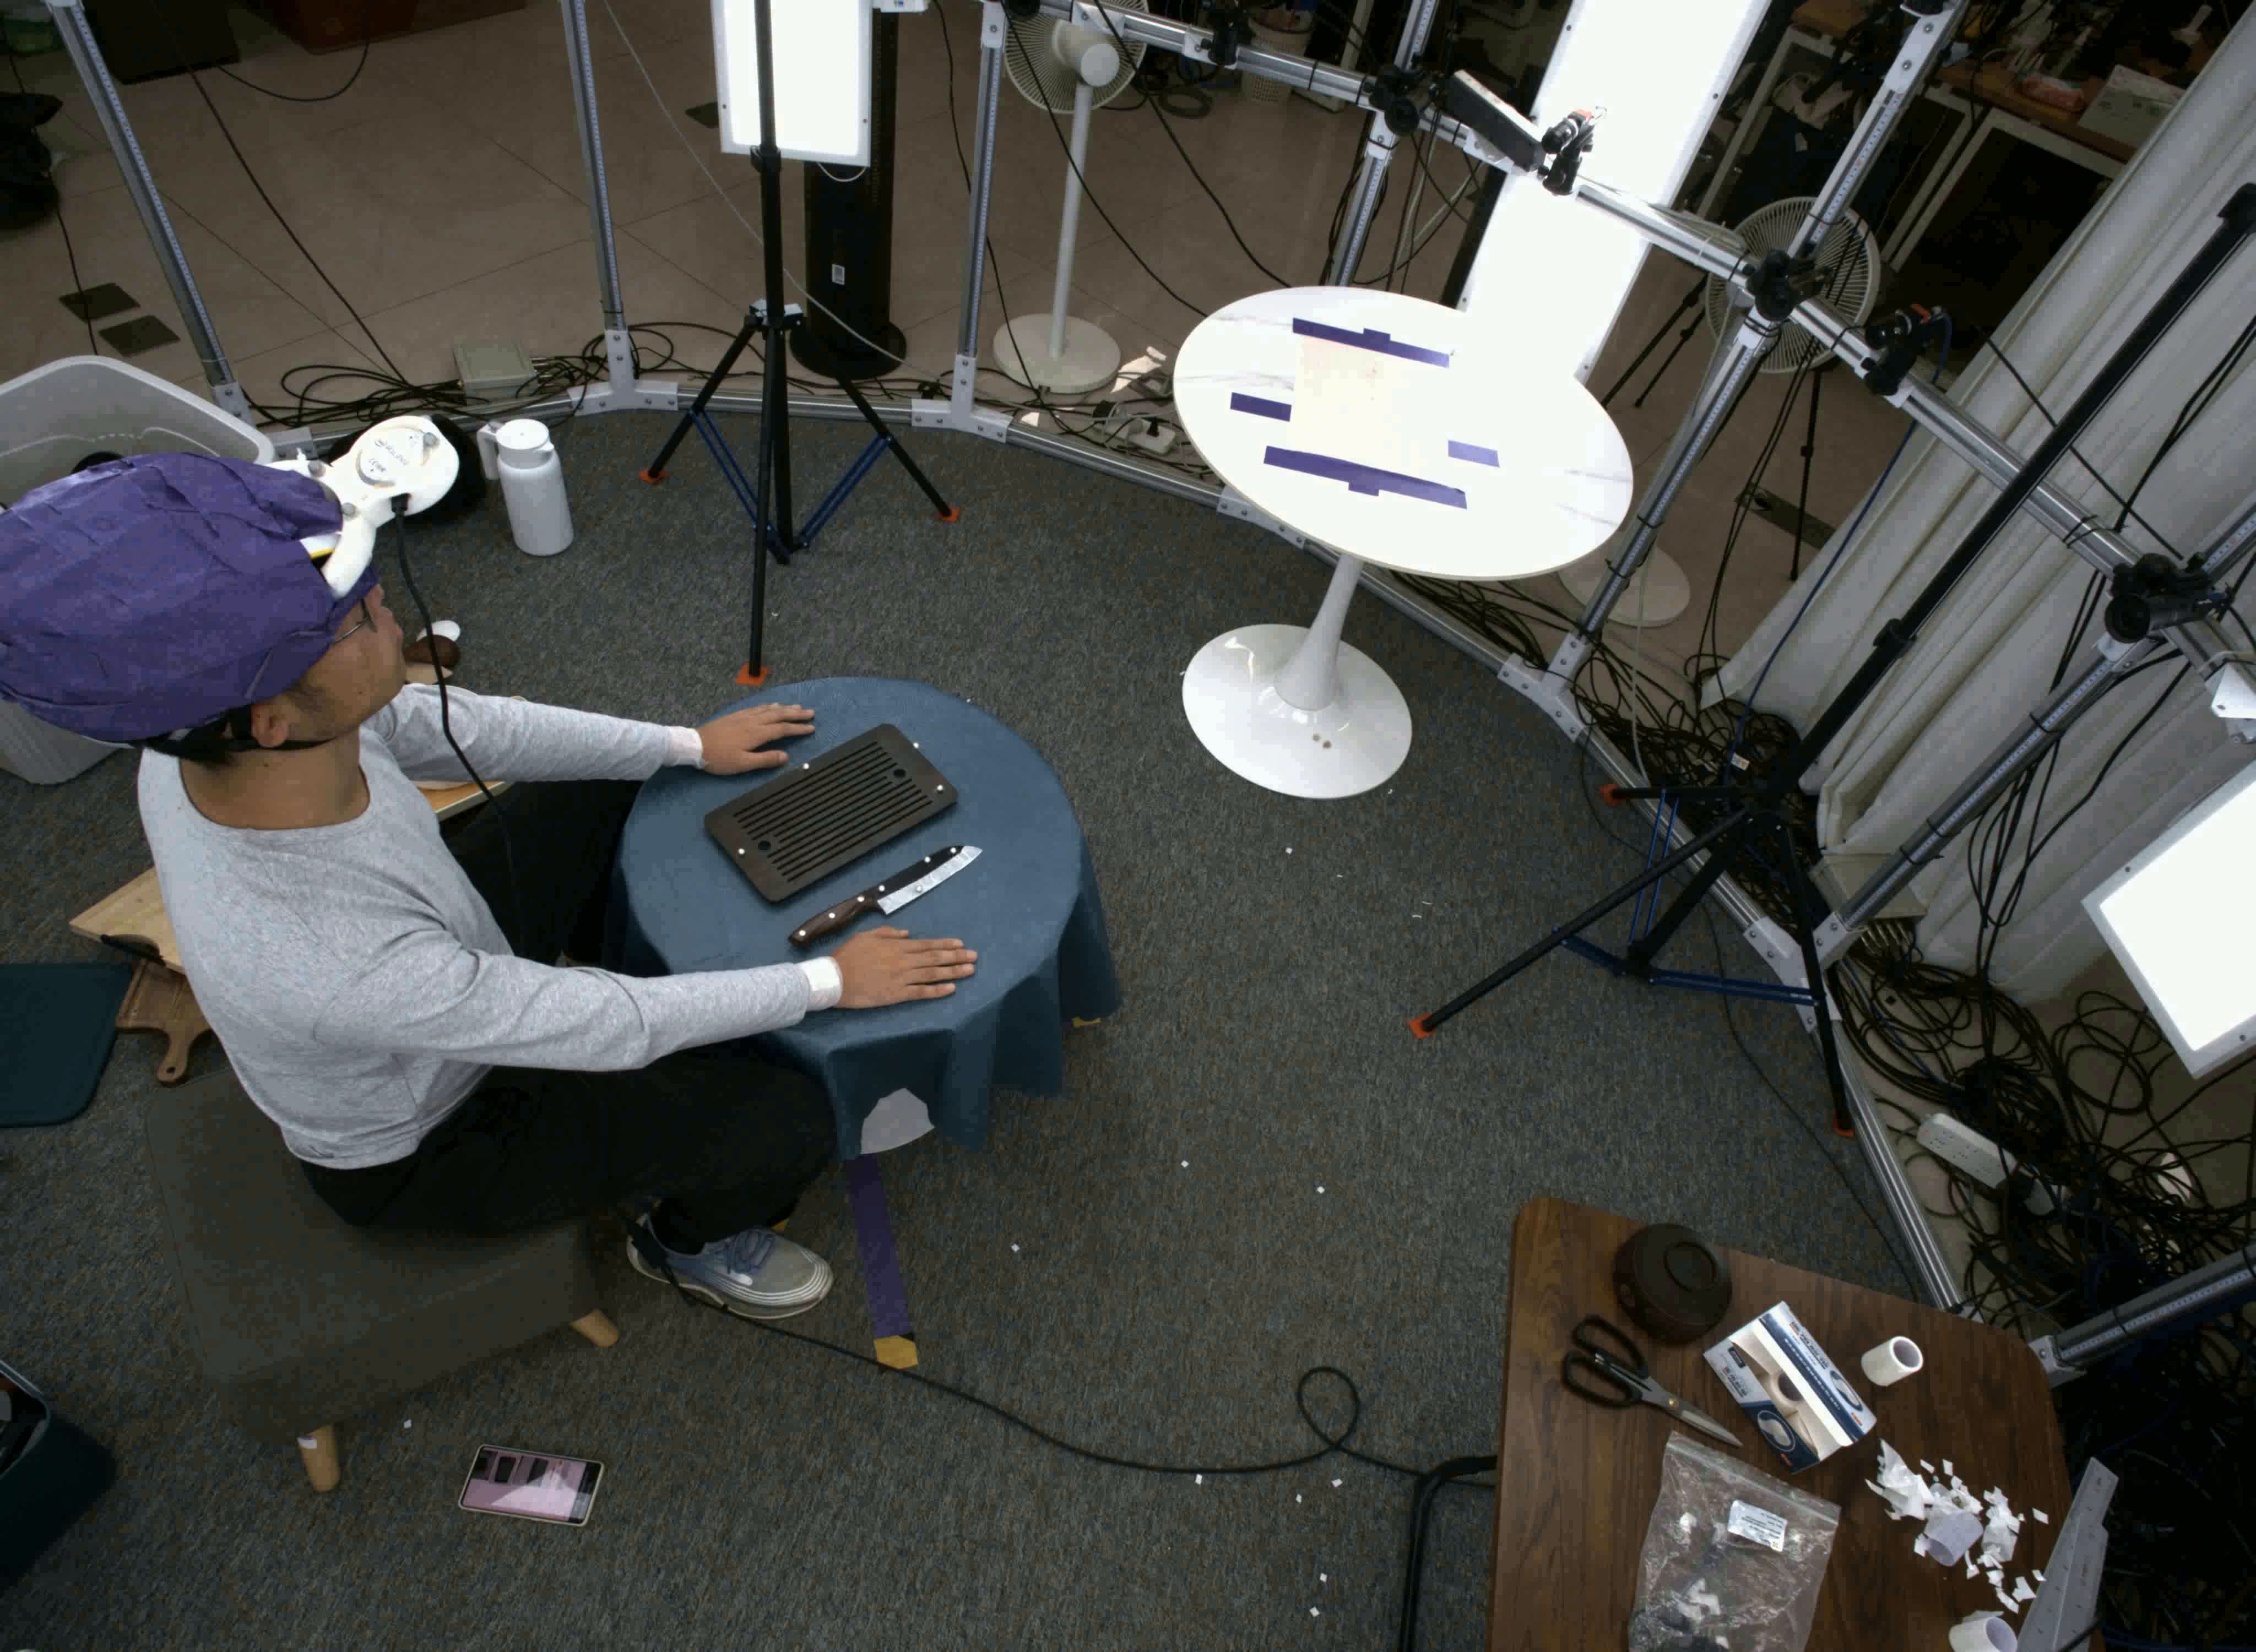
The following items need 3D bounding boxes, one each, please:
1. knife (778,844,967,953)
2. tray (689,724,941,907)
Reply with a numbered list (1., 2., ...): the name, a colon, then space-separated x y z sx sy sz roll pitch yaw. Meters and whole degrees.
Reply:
1. knife: -0.326 0.088 1.686 0.290 0.020 0.049 -30 71 -33
2. tray: -0.416 -0.019 1.740 0.307 0.019 0.166 -33 68 -31
